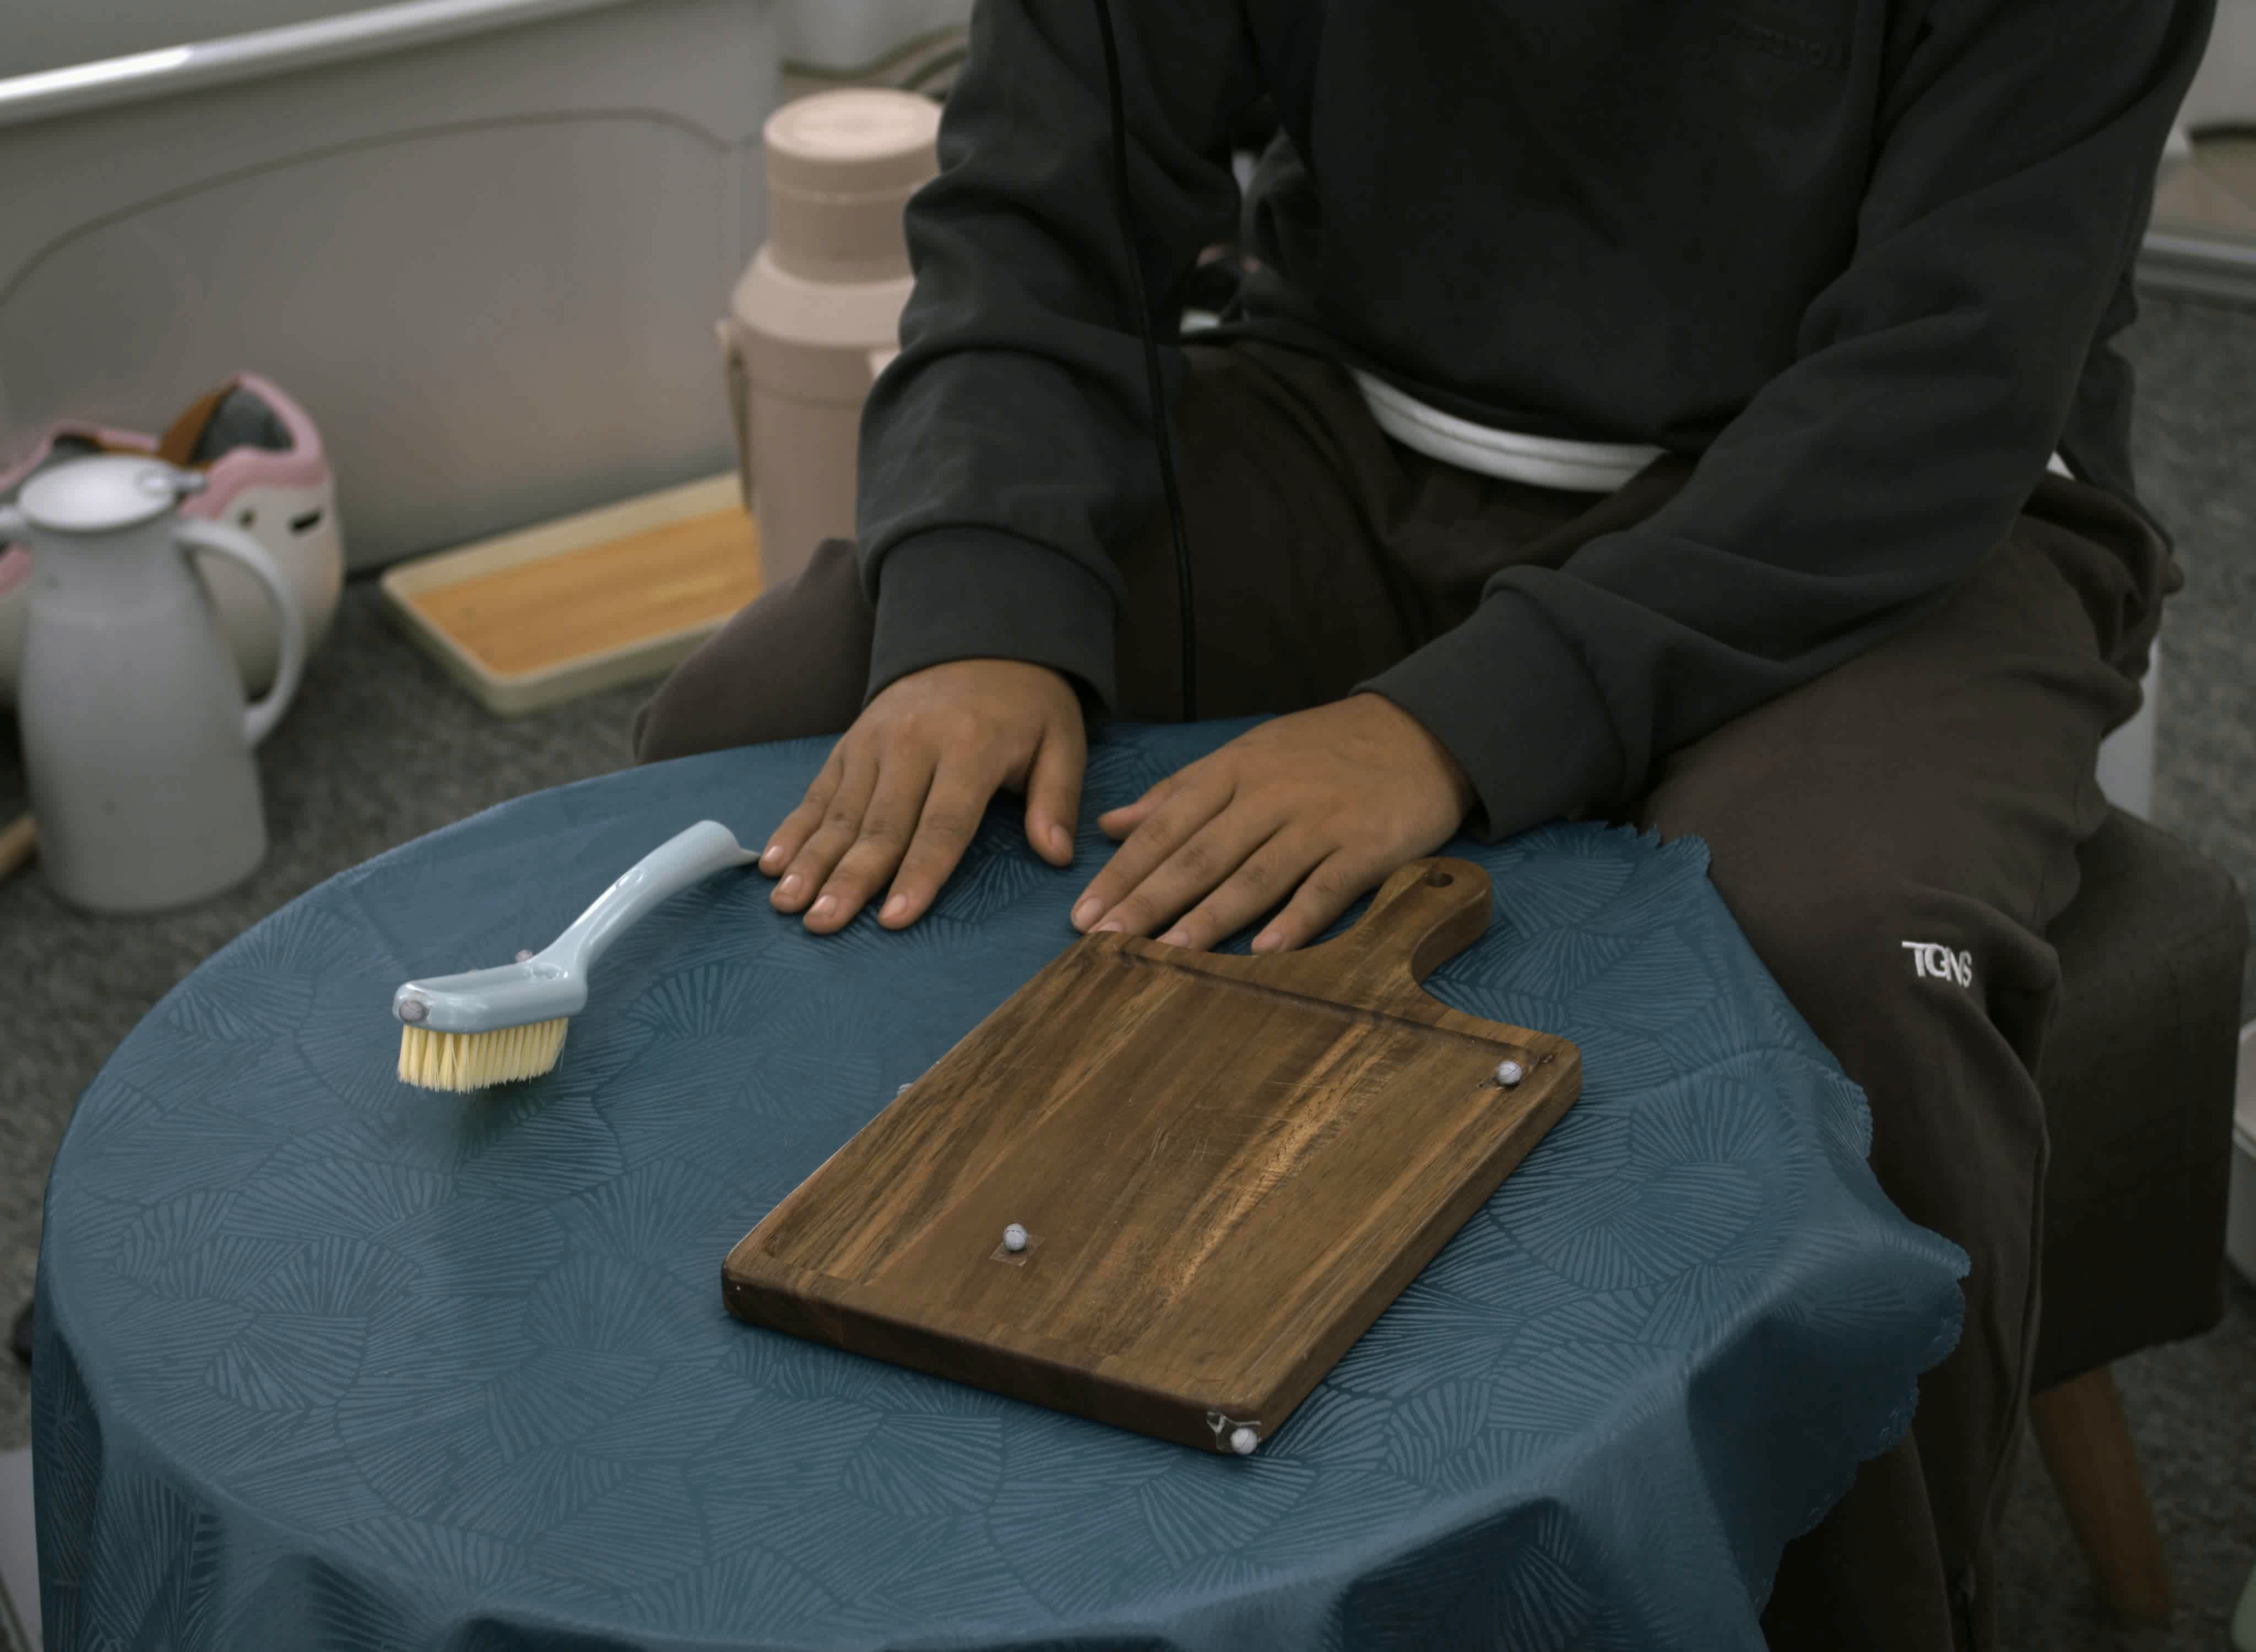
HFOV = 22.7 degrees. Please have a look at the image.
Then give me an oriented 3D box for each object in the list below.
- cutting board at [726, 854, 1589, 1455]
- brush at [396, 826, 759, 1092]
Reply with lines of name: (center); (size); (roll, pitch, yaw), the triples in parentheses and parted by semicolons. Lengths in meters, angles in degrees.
cutting board: (0.038, 0.094, 1.892); (0.200, 0.023, 0.358); (13, 31, 26)
brush: (-0.192, 0.048, 1.991); (0.037, 0.049, 0.232); (10, 21, 21)
